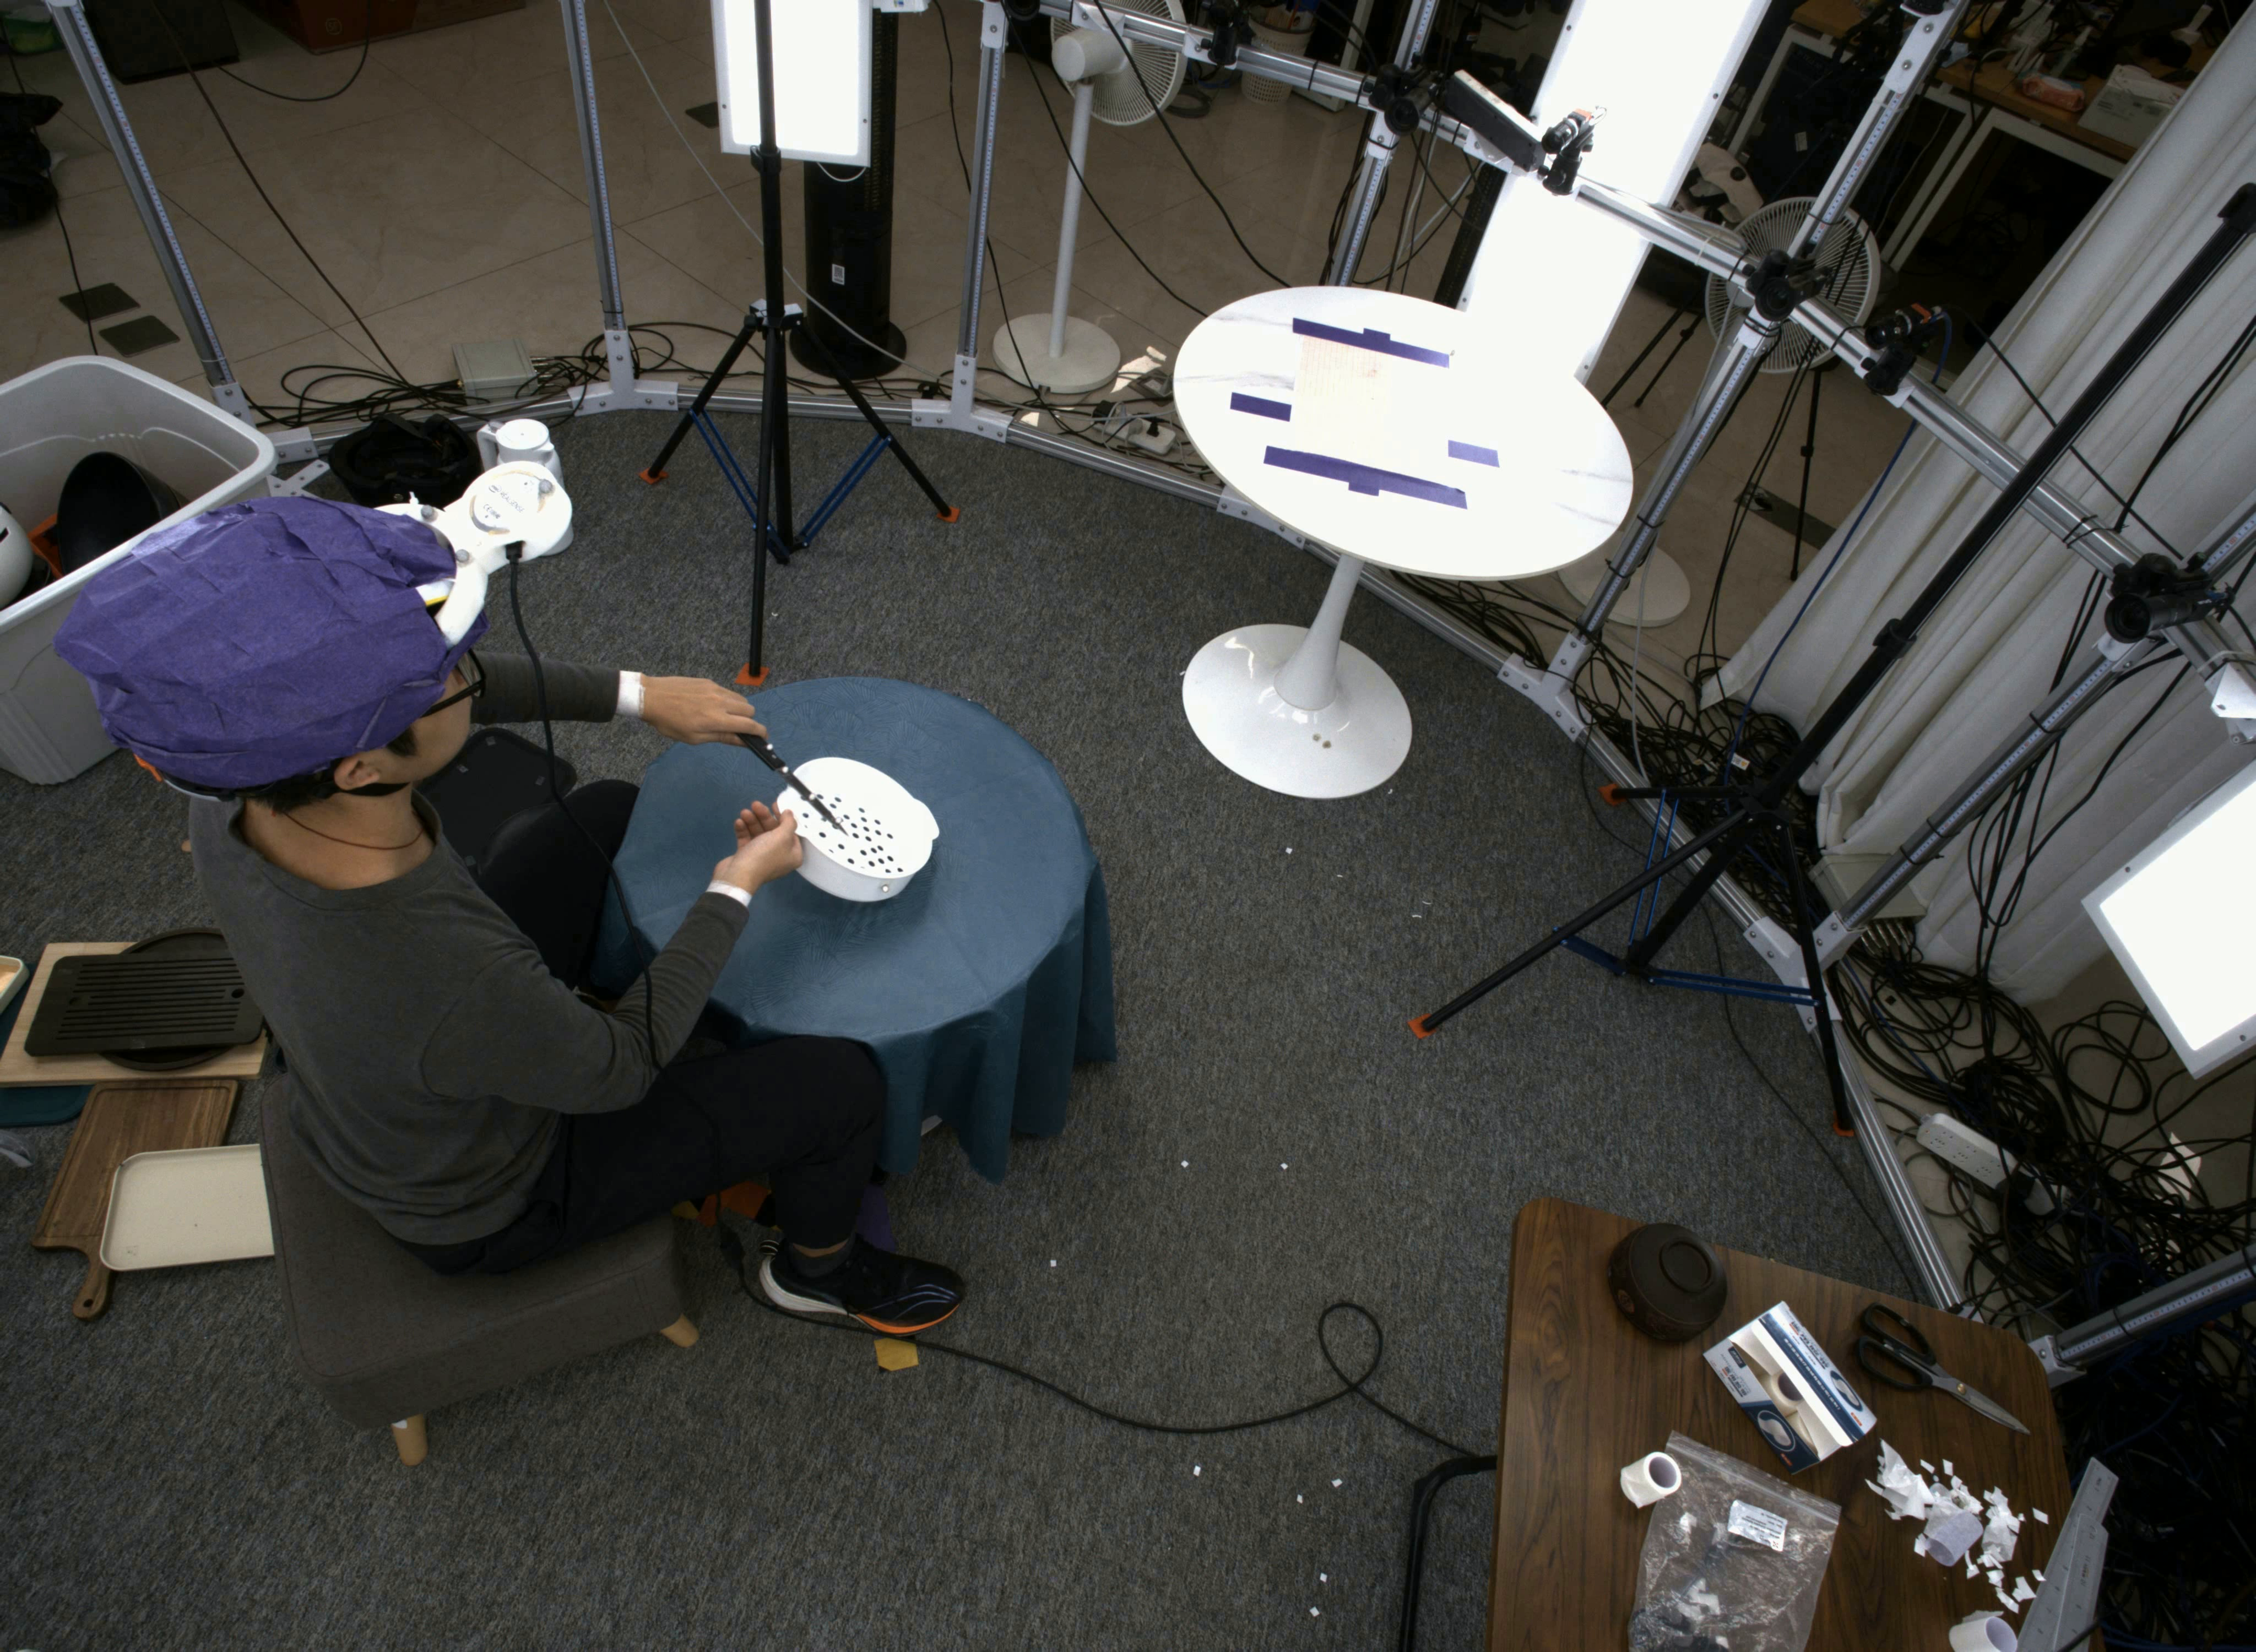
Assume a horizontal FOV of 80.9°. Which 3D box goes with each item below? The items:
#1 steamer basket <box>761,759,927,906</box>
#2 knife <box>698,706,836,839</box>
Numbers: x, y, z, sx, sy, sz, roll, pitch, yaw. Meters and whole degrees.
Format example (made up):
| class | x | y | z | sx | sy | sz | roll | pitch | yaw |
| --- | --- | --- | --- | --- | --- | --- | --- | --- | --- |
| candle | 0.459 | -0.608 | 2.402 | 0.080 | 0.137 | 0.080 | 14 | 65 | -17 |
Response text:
| class | x | y | z | sx | sy | sz | roll | pitch | yaw |
| --- | --- | --- | --- | --- | --- | --- | --- | --- | --- |
| steamer basket | -0.369 | 0.008 | 1.661 | 0.235 | 0.069 | 0.197 | 0 | 50 | -46 |
| knife | -0.447 | -0.065 | 1.595 | 0.237 | 0.016 | 0.024 | 43 | 26 | 2 |
